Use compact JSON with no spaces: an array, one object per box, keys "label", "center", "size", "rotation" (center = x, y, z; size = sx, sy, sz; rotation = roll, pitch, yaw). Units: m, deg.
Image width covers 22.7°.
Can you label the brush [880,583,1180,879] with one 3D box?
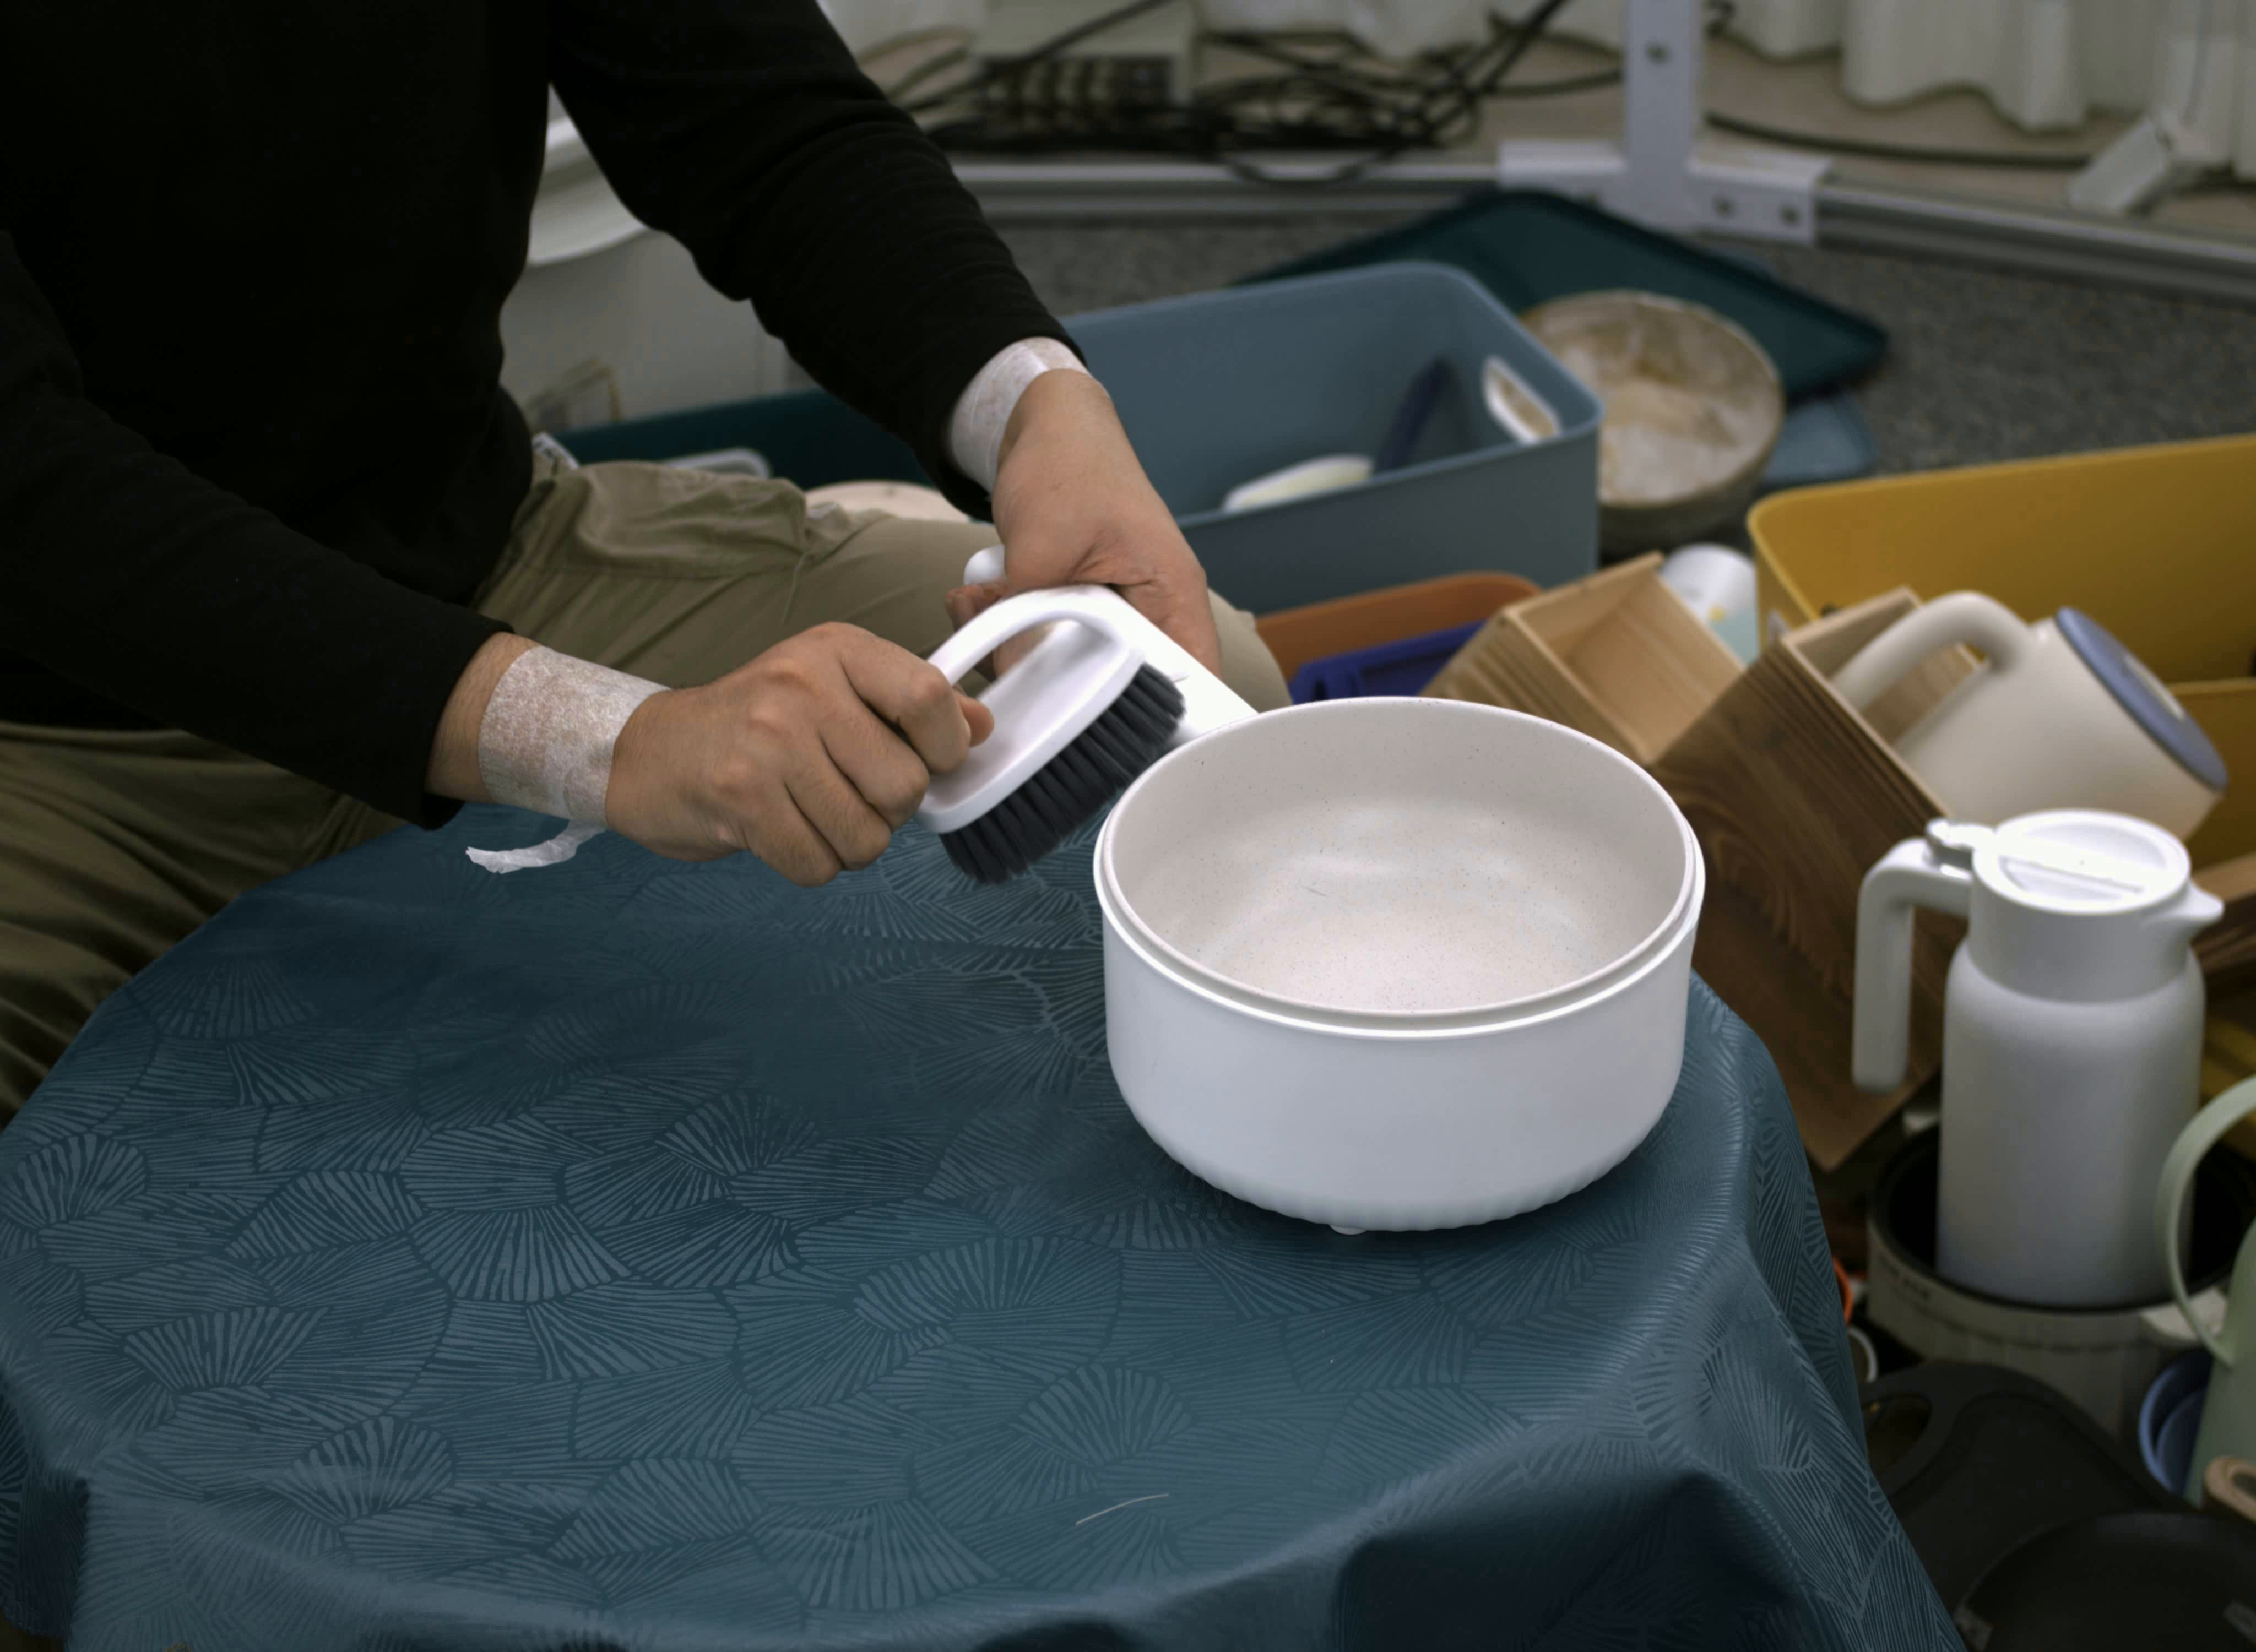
[{"label":"brush","center":[-0.040,-0.039,1.897],"size":[0.099,0.072,0.050],"rotation":[-42,36,-3]}]

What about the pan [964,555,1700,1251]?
[{"label":"pan","center":[0.049,0.022,1.931],"size":[0.203,0.101,0.356],"rotation":[-21,36,-25]}]
